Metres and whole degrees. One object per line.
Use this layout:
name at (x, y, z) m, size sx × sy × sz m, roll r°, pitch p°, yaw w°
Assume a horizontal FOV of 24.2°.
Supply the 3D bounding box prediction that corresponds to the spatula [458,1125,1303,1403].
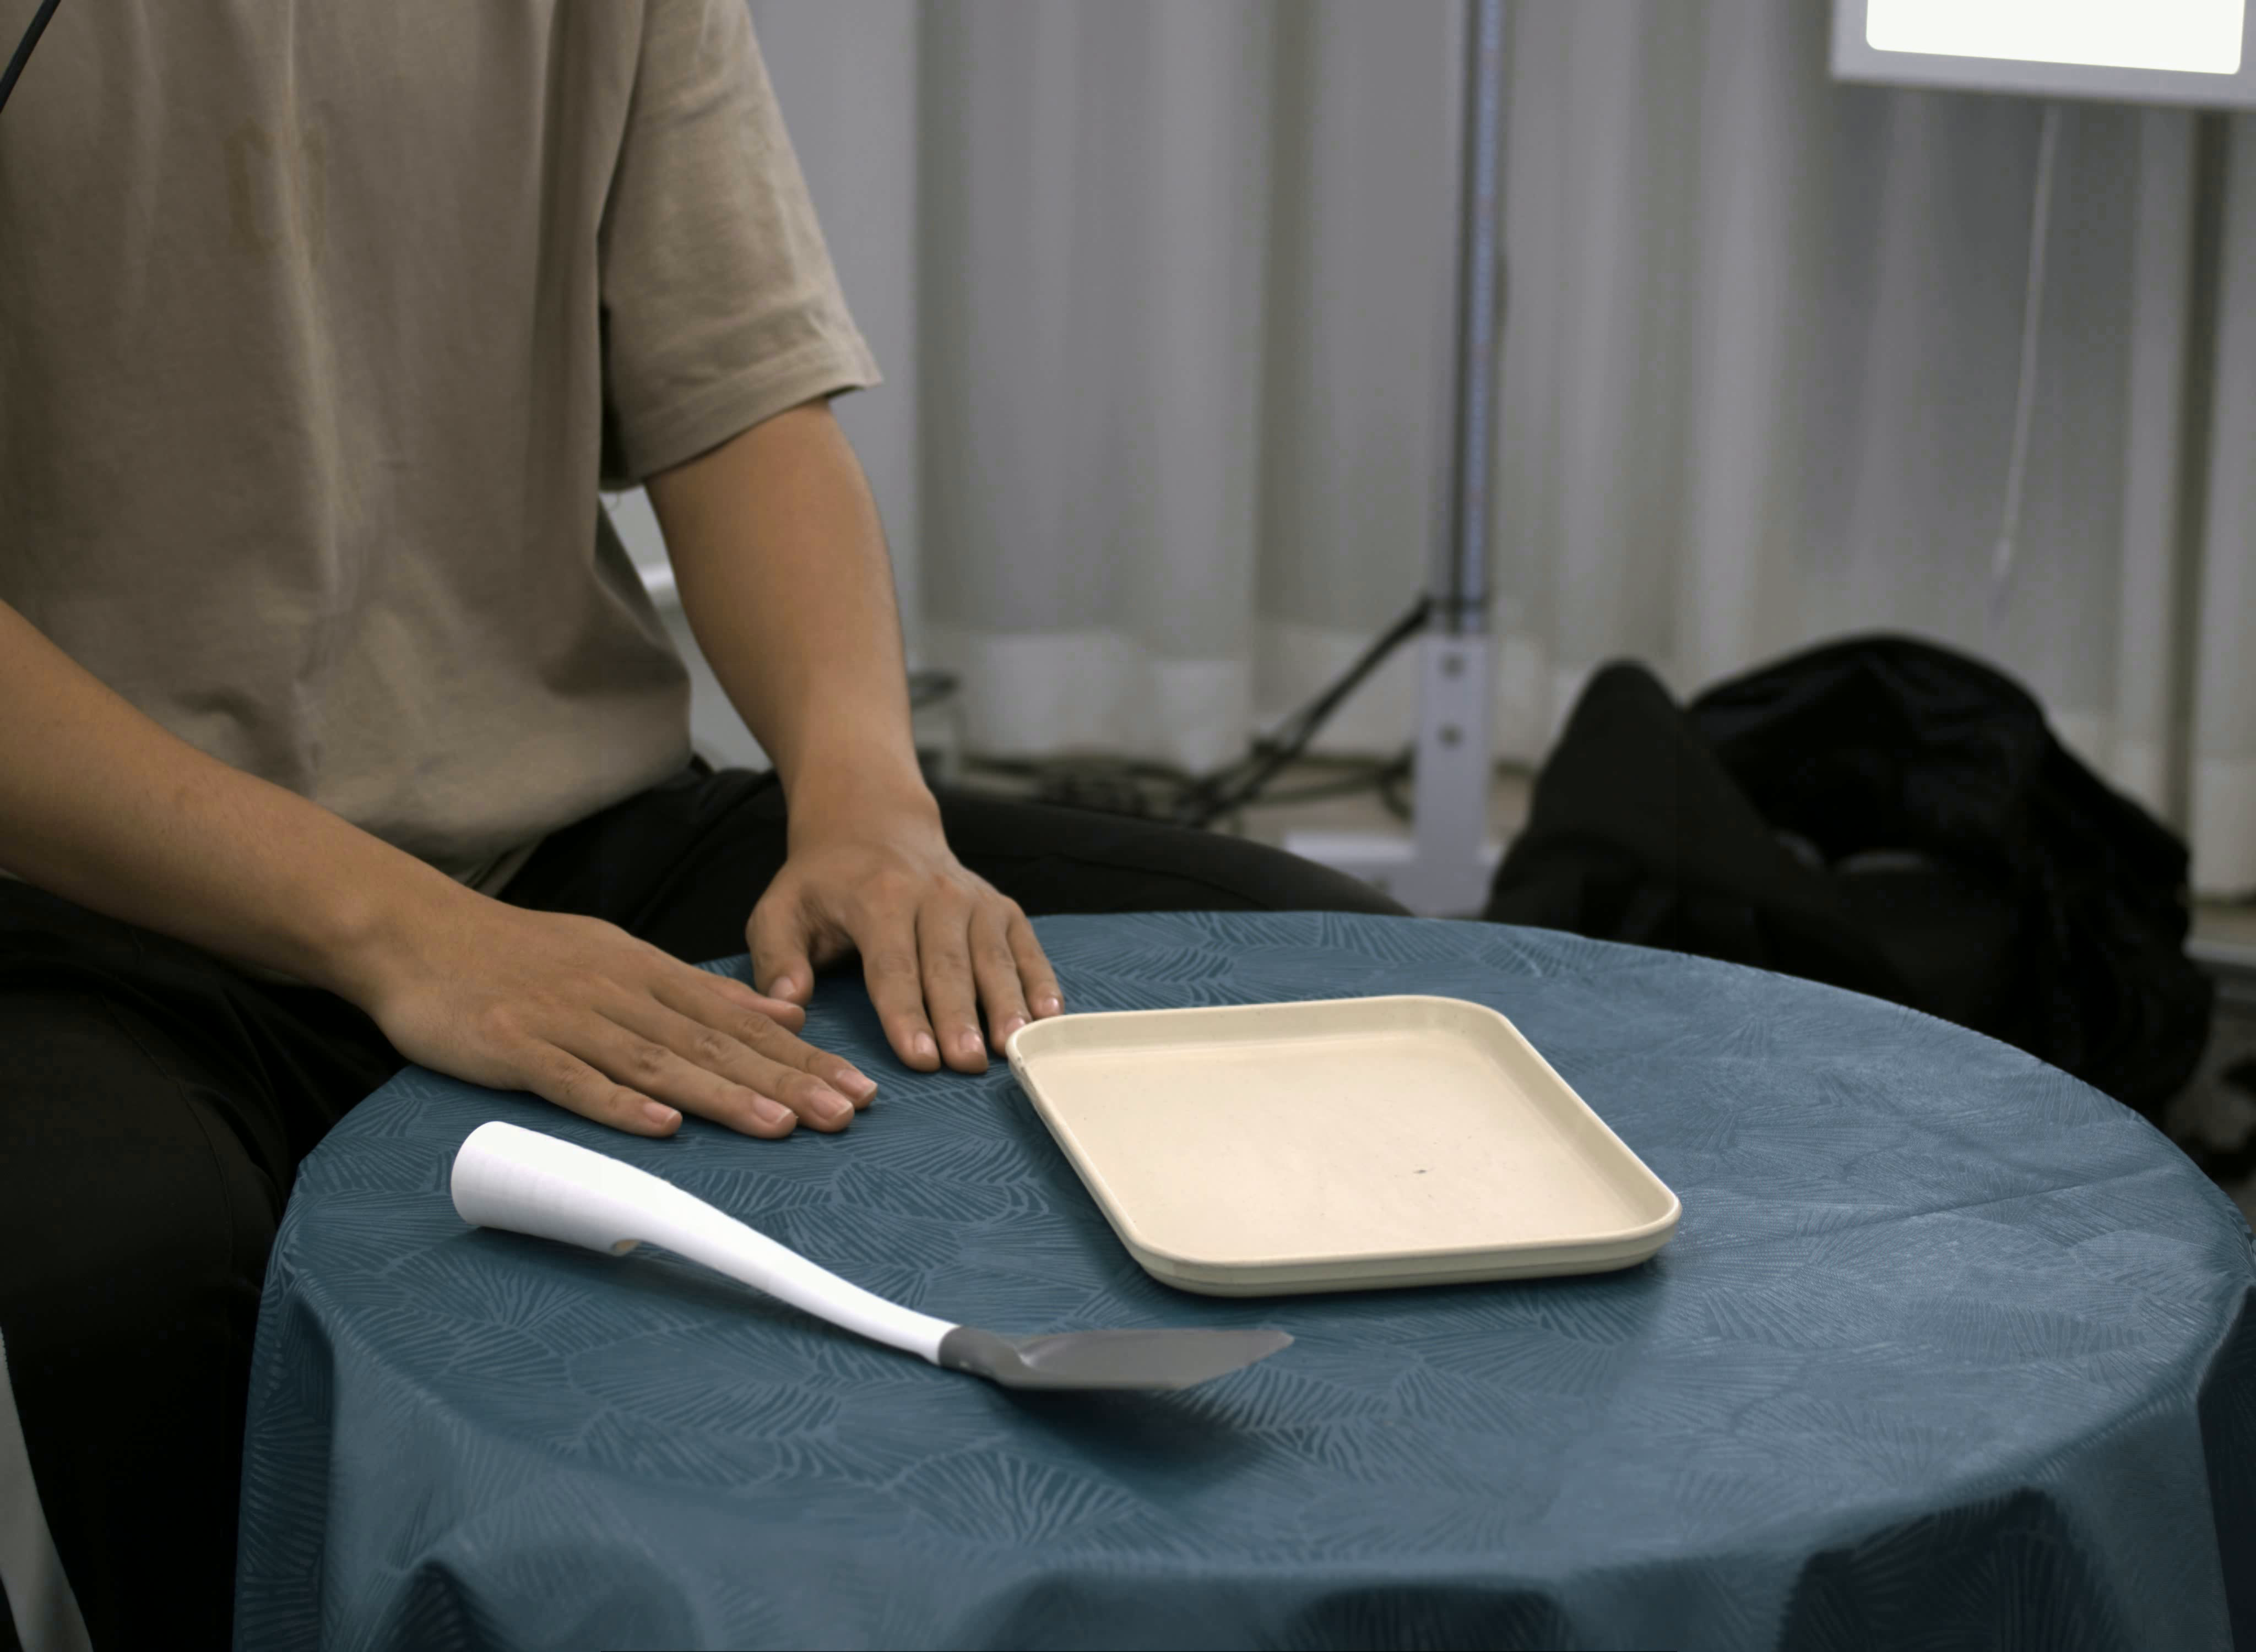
spatula at (-0.077, 0.129, 1.496) m, size 0.284 × 0.032 × 0.059 m, roll 12°, pitch 16°, yaw 35°

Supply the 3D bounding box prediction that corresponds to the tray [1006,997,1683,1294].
tray at (0.063, 0.099, 1.645) m, size 0.171 × 0.017 × 0.237 m, roll -2°, pitch 16°, yaw -13°
